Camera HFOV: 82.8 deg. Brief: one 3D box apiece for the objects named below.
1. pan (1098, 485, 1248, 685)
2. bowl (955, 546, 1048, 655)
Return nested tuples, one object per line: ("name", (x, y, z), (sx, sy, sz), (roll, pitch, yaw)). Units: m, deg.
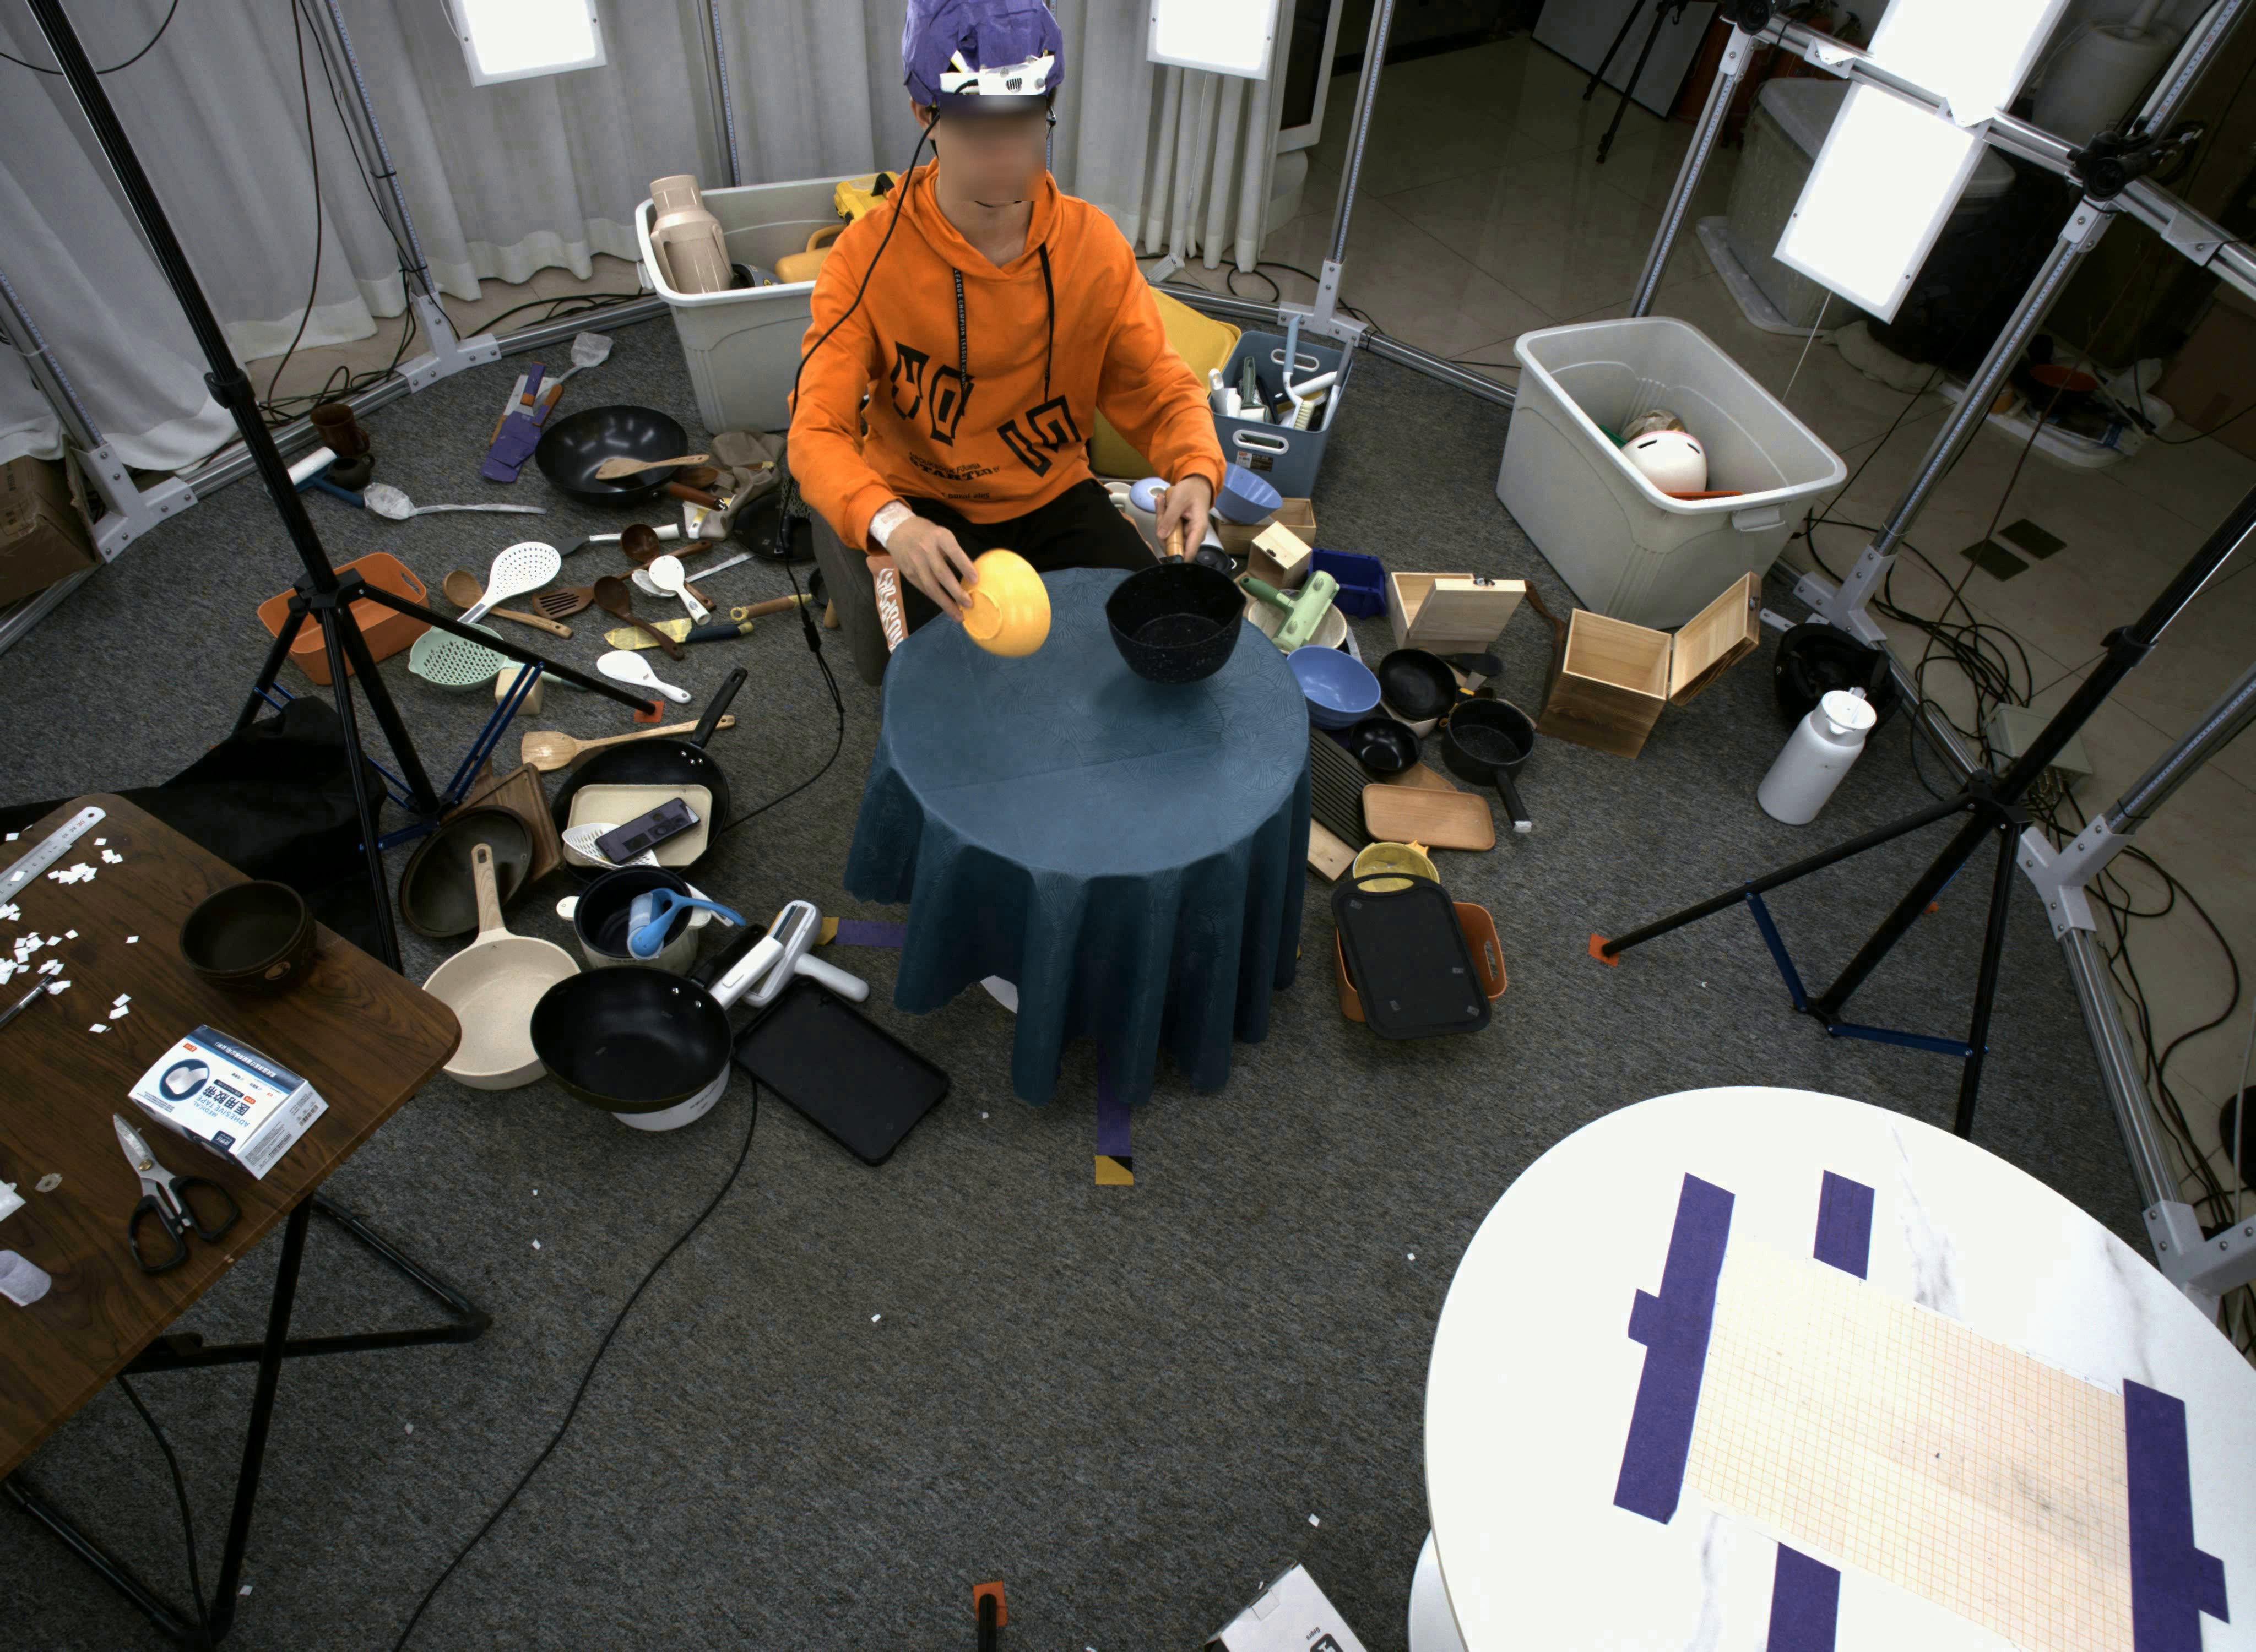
("pan", (0.066, -0.345, 1.836), (0.207, 0.105, 0.351), (-5, 48, 6))
("bowl", (-0.177, -0.285, 1.670), (0.147, 0.142, 0.060), (34, 39, 23))
